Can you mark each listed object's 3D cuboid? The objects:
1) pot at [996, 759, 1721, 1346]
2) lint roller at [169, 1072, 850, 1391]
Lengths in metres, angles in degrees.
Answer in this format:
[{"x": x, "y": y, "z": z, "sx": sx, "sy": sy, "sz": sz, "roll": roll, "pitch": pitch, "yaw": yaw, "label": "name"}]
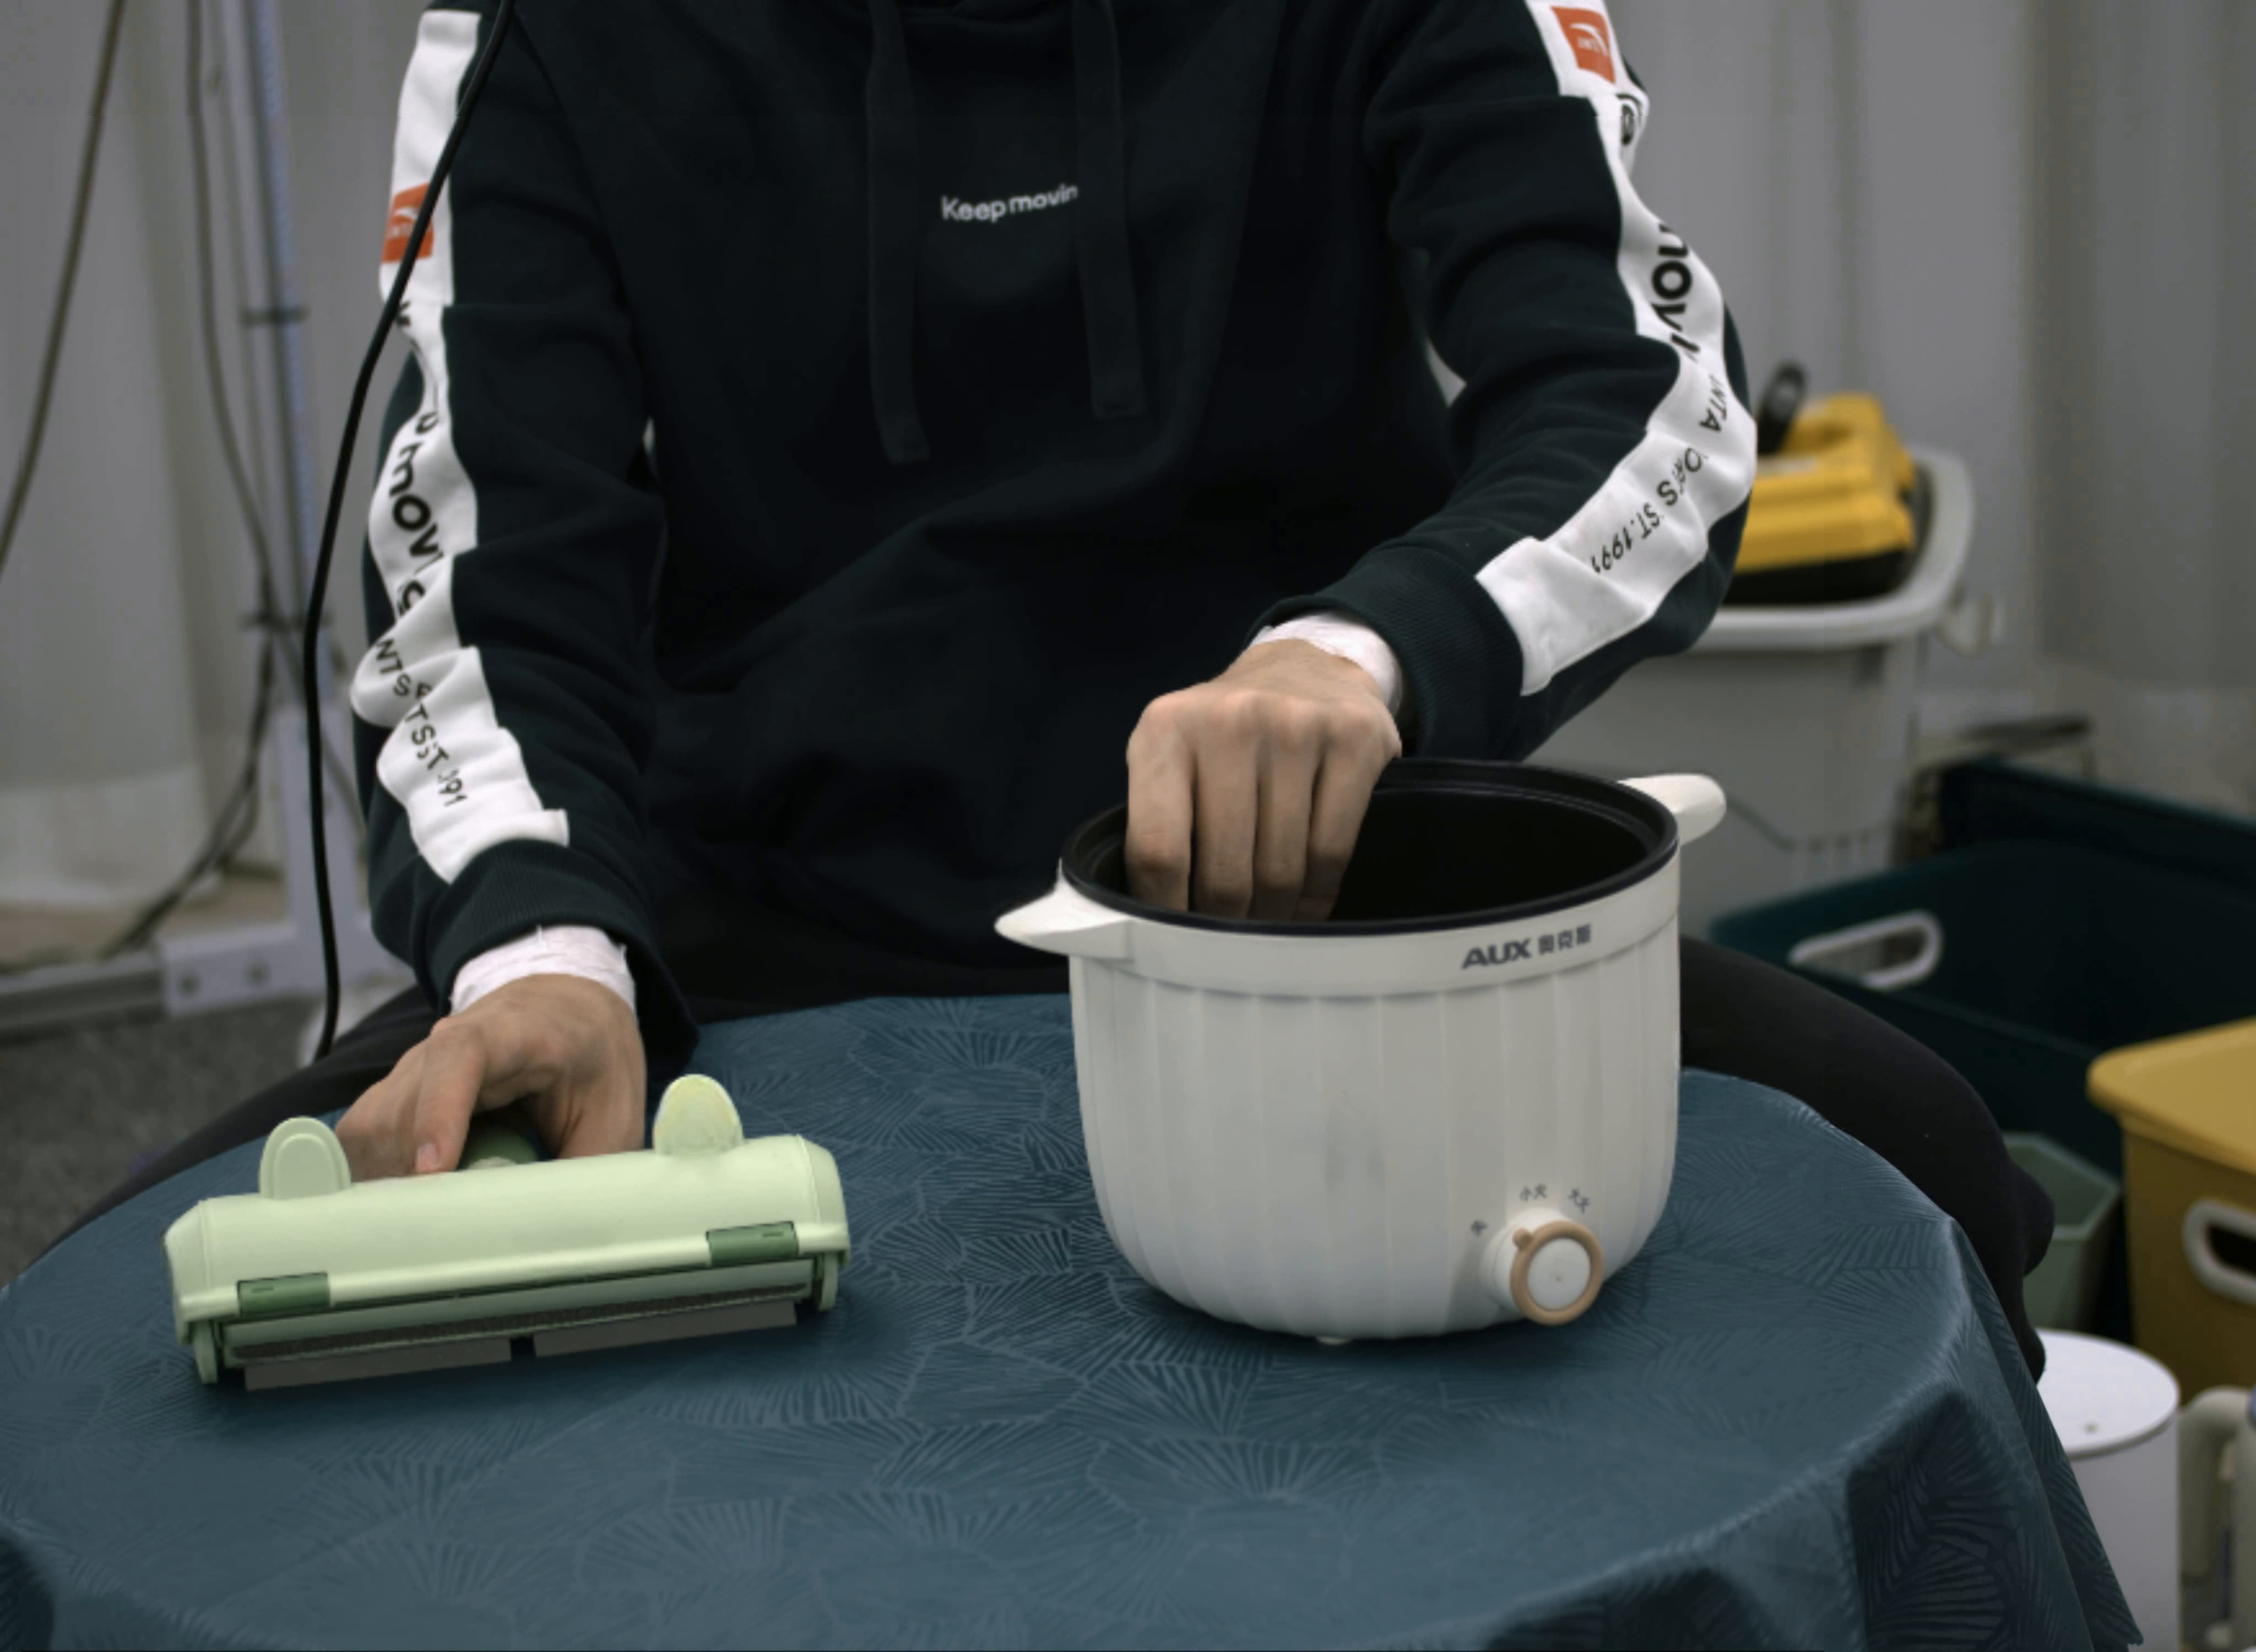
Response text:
[{"x": 0.077, "y": 0.068, "z": 1.608, "sx": 0.239, "sy": 0.142, "sz": 0.192, "roll": -12, "pitch": 14, "yaw": -26, "label": "pot"}, {"x": -0.192, "y": 0.103, "z": 1.654, "sx": 0.198, "sy": 0.081, "sz": 0.185, "roll": -6, "pitch": 20, "yaw": -10, "label": "lint roller"}]
